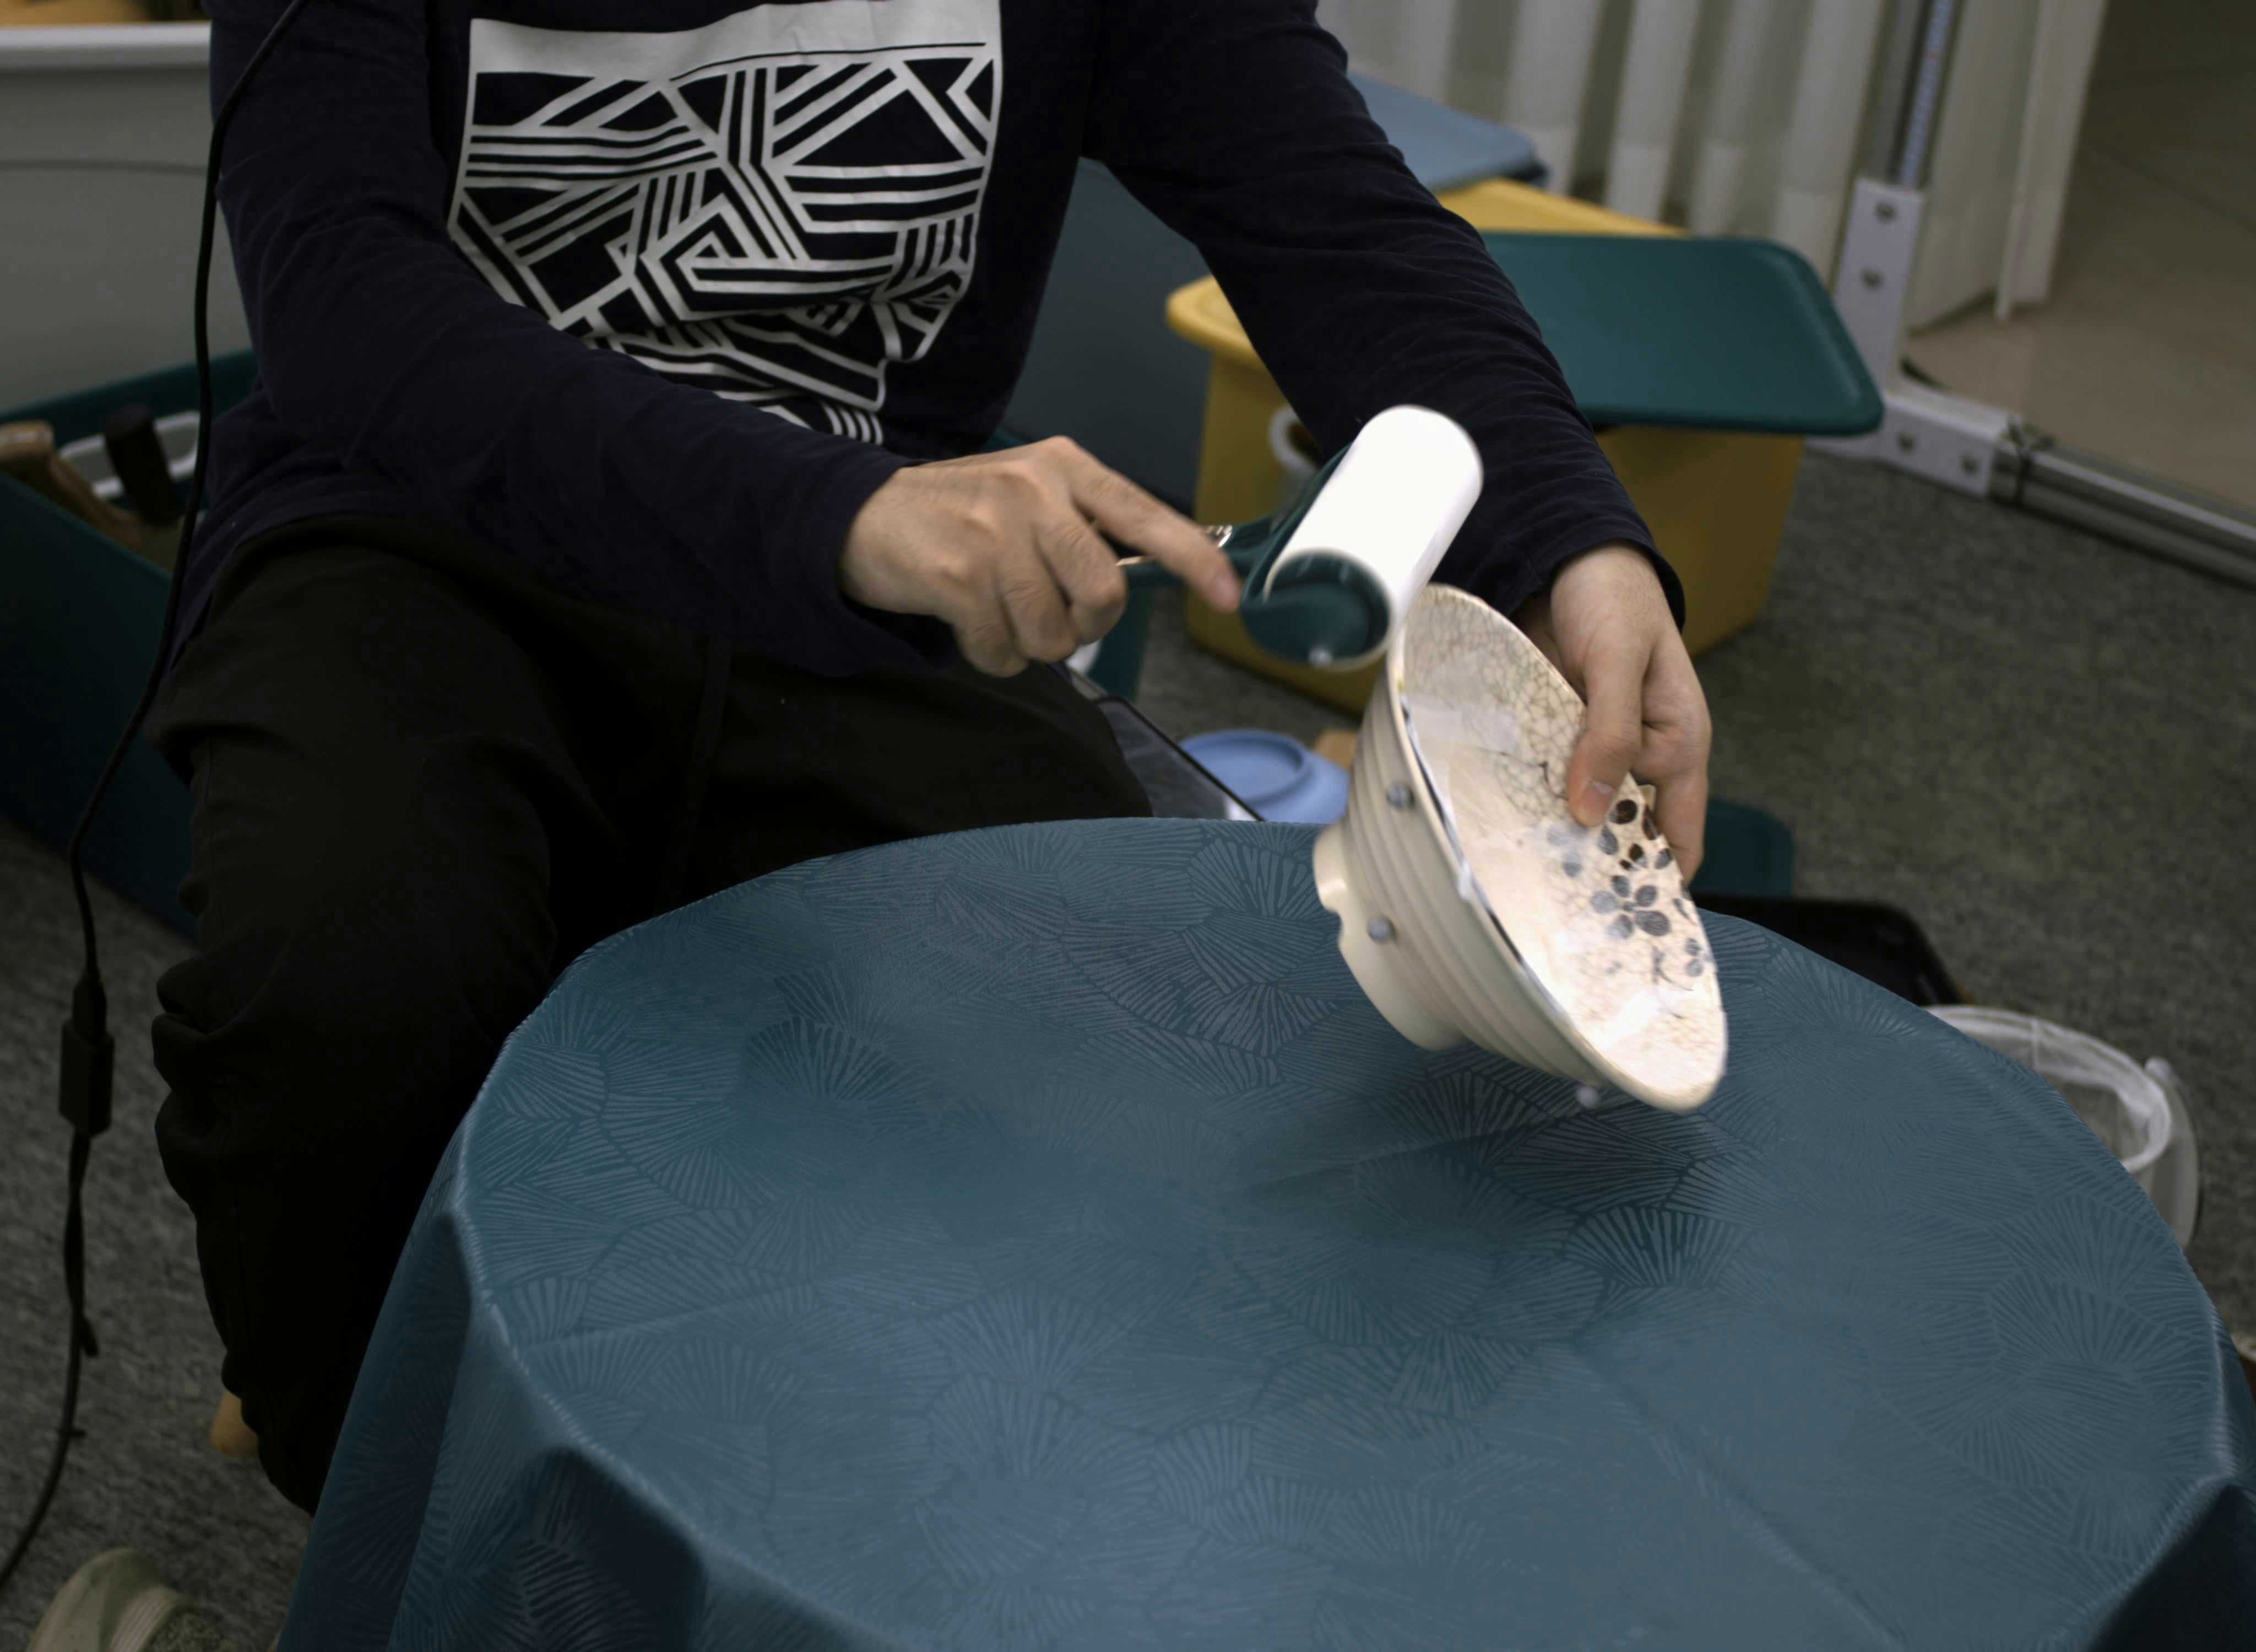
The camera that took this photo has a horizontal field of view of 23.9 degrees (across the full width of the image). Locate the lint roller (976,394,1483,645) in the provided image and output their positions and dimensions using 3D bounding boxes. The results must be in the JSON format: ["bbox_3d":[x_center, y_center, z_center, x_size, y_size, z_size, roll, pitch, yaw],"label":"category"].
[{"bbox_3d":[0.025,-0.101,1.839,0.180,0.048,0.134,-3,27,25],"label":"lint roller"}]

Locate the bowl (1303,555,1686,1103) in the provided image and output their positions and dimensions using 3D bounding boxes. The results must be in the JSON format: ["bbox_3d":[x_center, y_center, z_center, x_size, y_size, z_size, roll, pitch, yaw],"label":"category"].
[{"bbox_3d":[0.114,0.015,1.838,0.078,0.203,0.205,-25,20,18],"label":"bowl"}]
